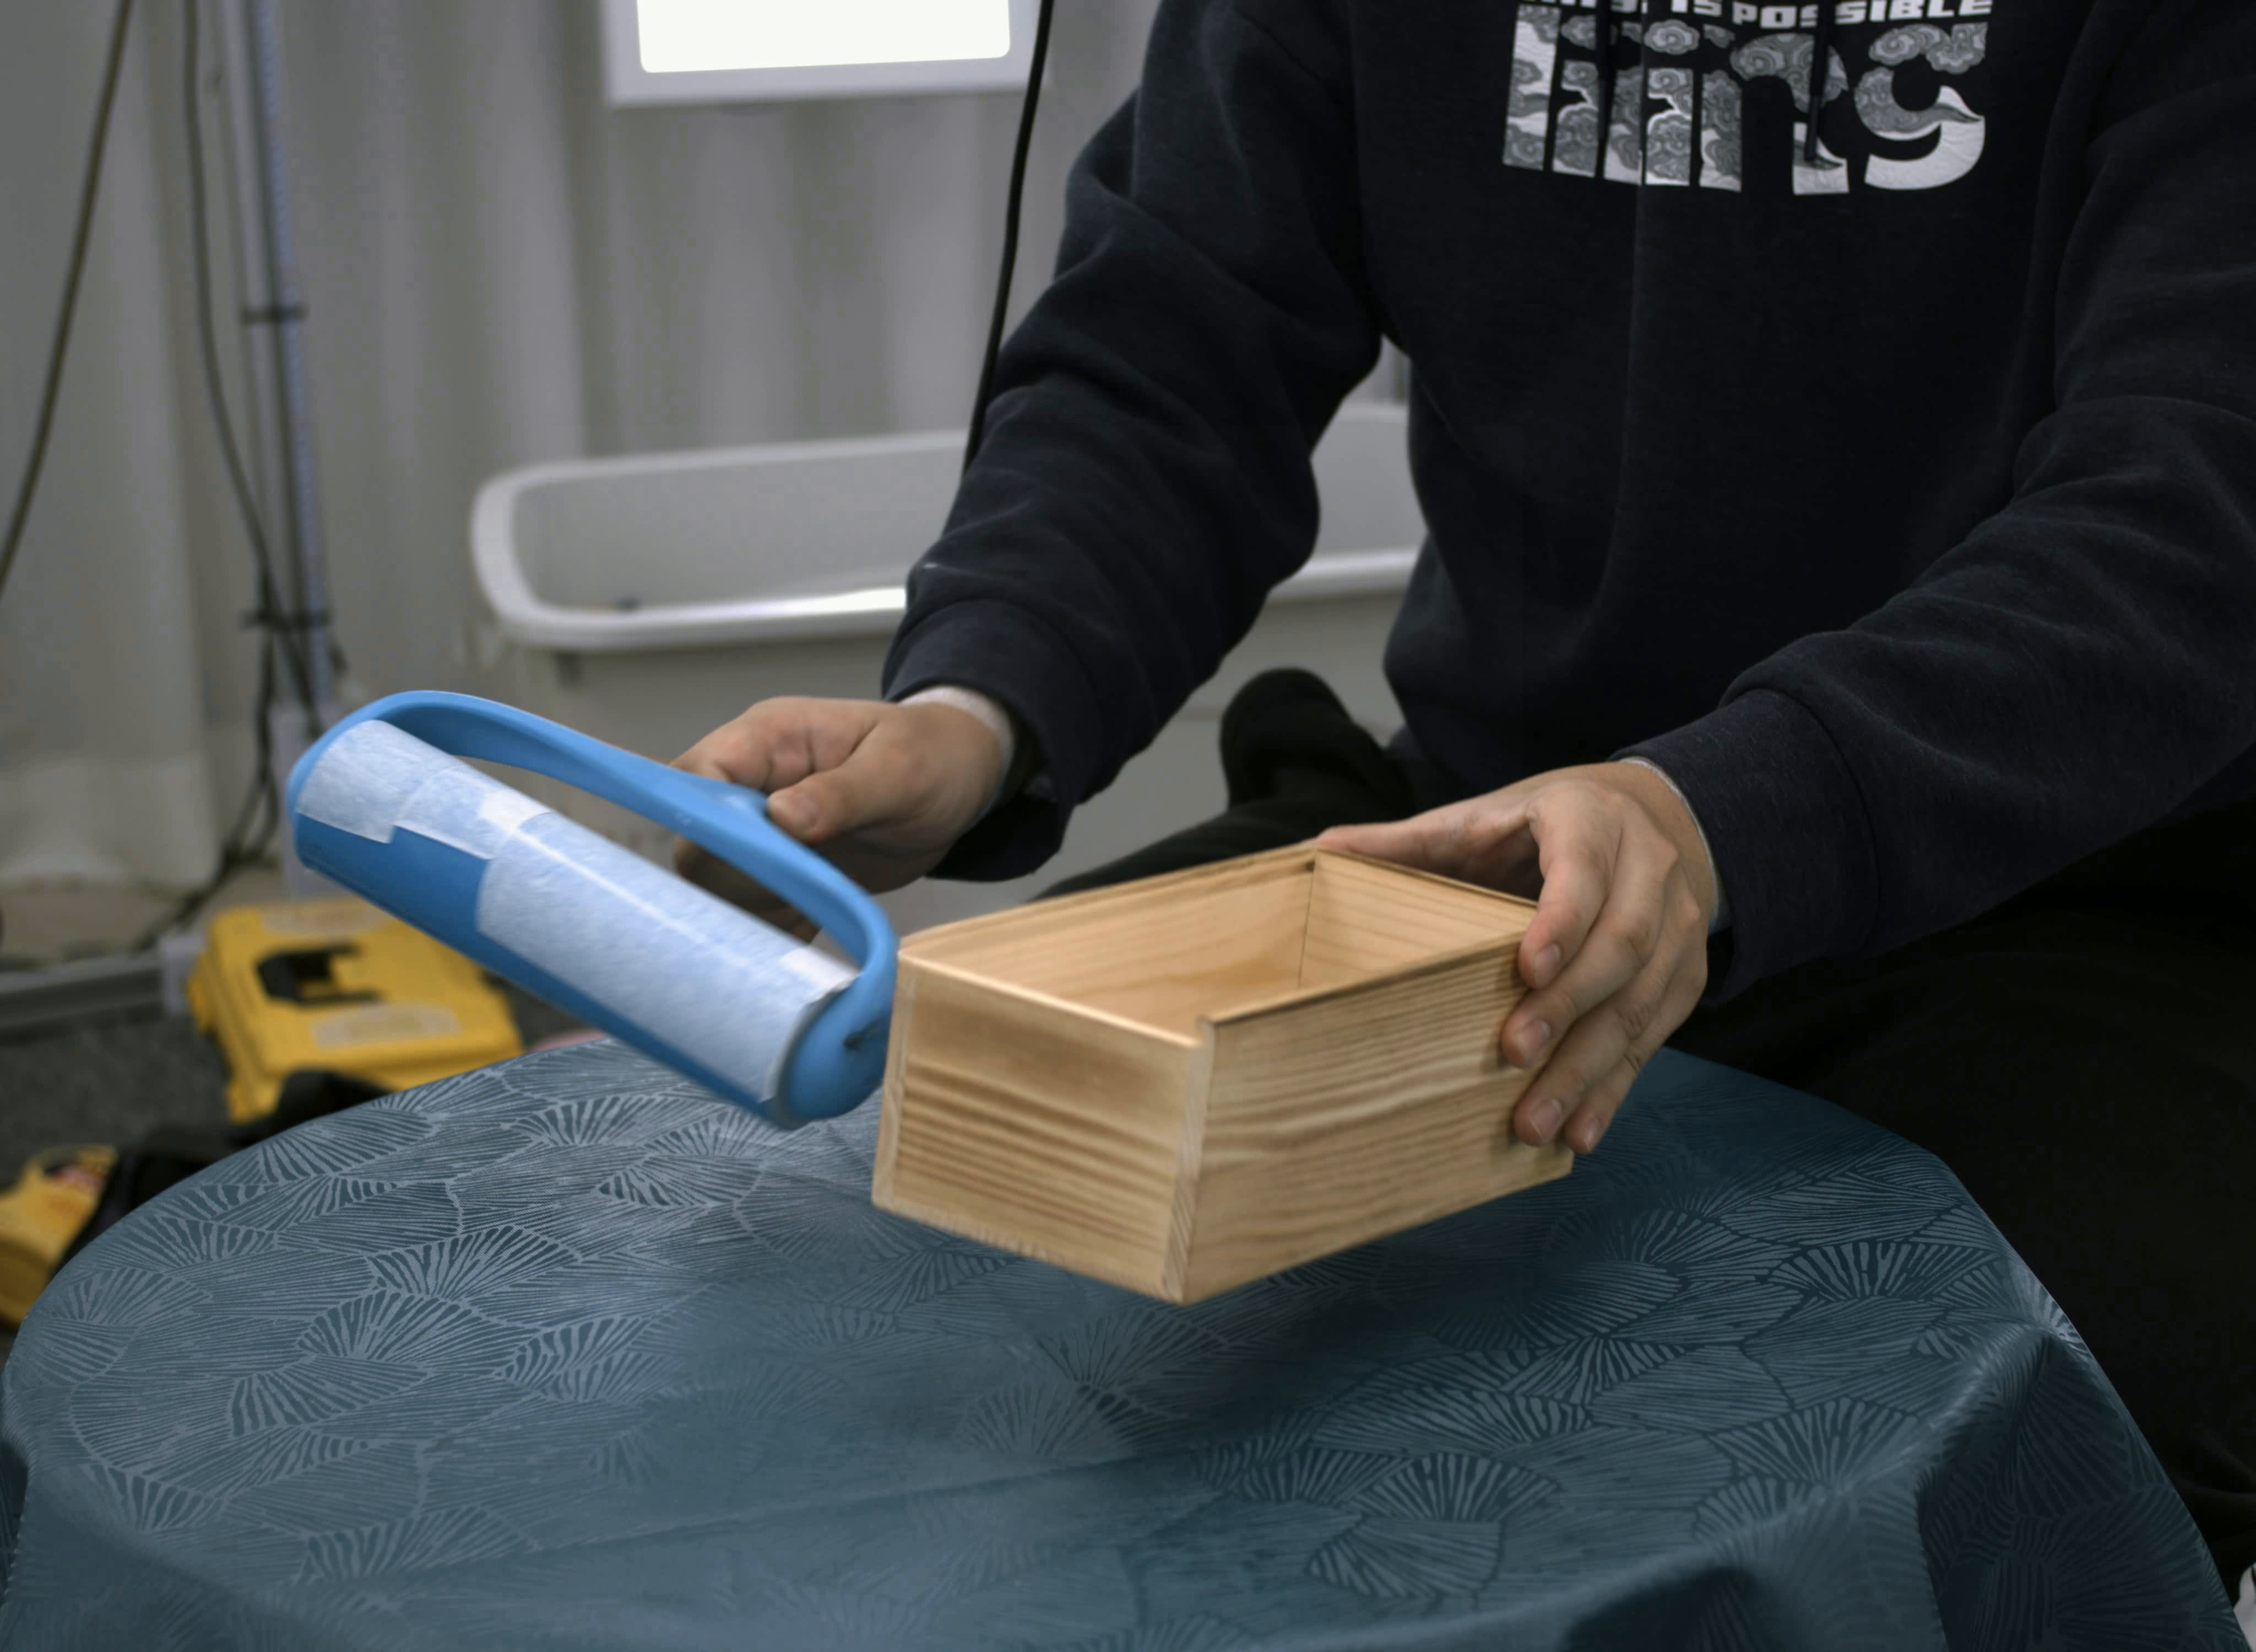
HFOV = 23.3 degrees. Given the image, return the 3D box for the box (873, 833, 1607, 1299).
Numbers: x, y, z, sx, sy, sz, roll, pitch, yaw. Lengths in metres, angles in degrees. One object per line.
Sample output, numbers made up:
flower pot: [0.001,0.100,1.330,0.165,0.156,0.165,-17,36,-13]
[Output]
box: [0.035,0.064,1.561,0.108,0.080,0.211,15,15,31]

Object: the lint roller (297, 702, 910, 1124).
lint roller: [-0.137,0.015,1.760,0.230,0.067,0.180,22,24,23]
